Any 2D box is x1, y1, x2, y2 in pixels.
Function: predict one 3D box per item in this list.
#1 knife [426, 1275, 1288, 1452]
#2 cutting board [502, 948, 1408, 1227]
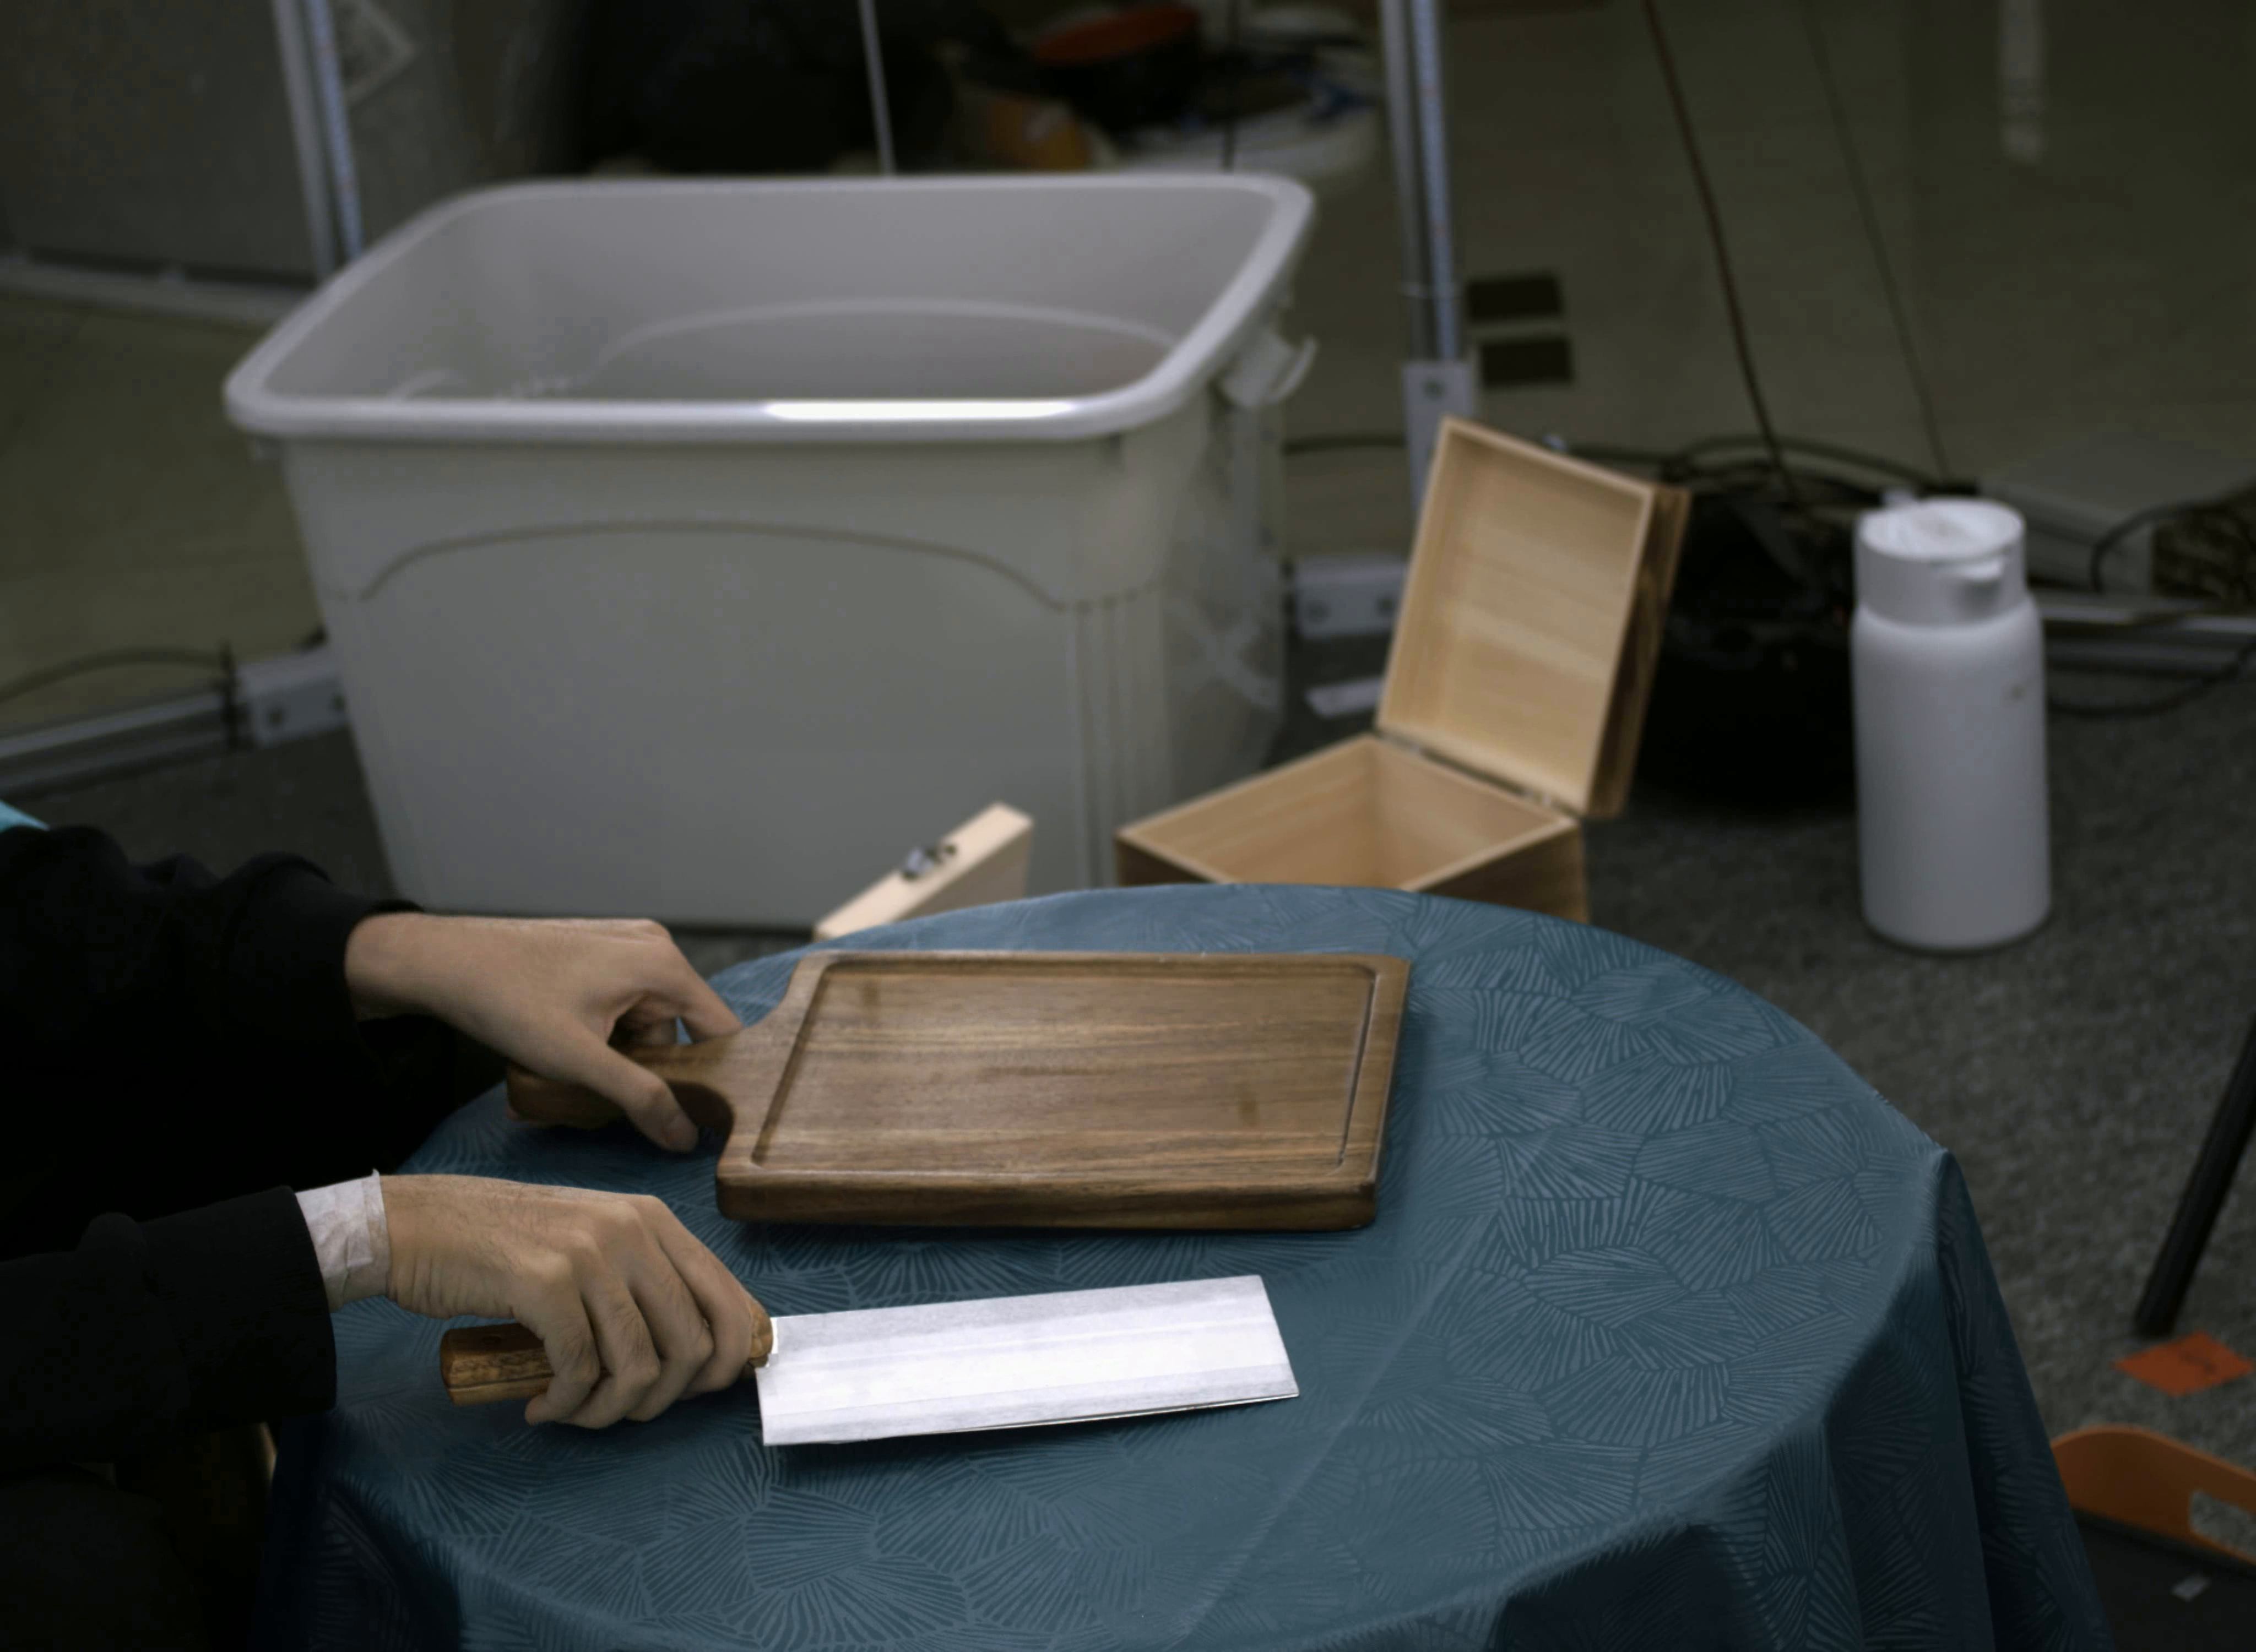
[{"bbox_3d":[-0.096,0.194,2.023,0.305,0.021,0.091,-5,25,-6],"label":"knife"},{"bbox_3d":[-0.070,0.099,2.203,0.351,0.023,0.198,0,26,7],"label":"cutting board"}]
